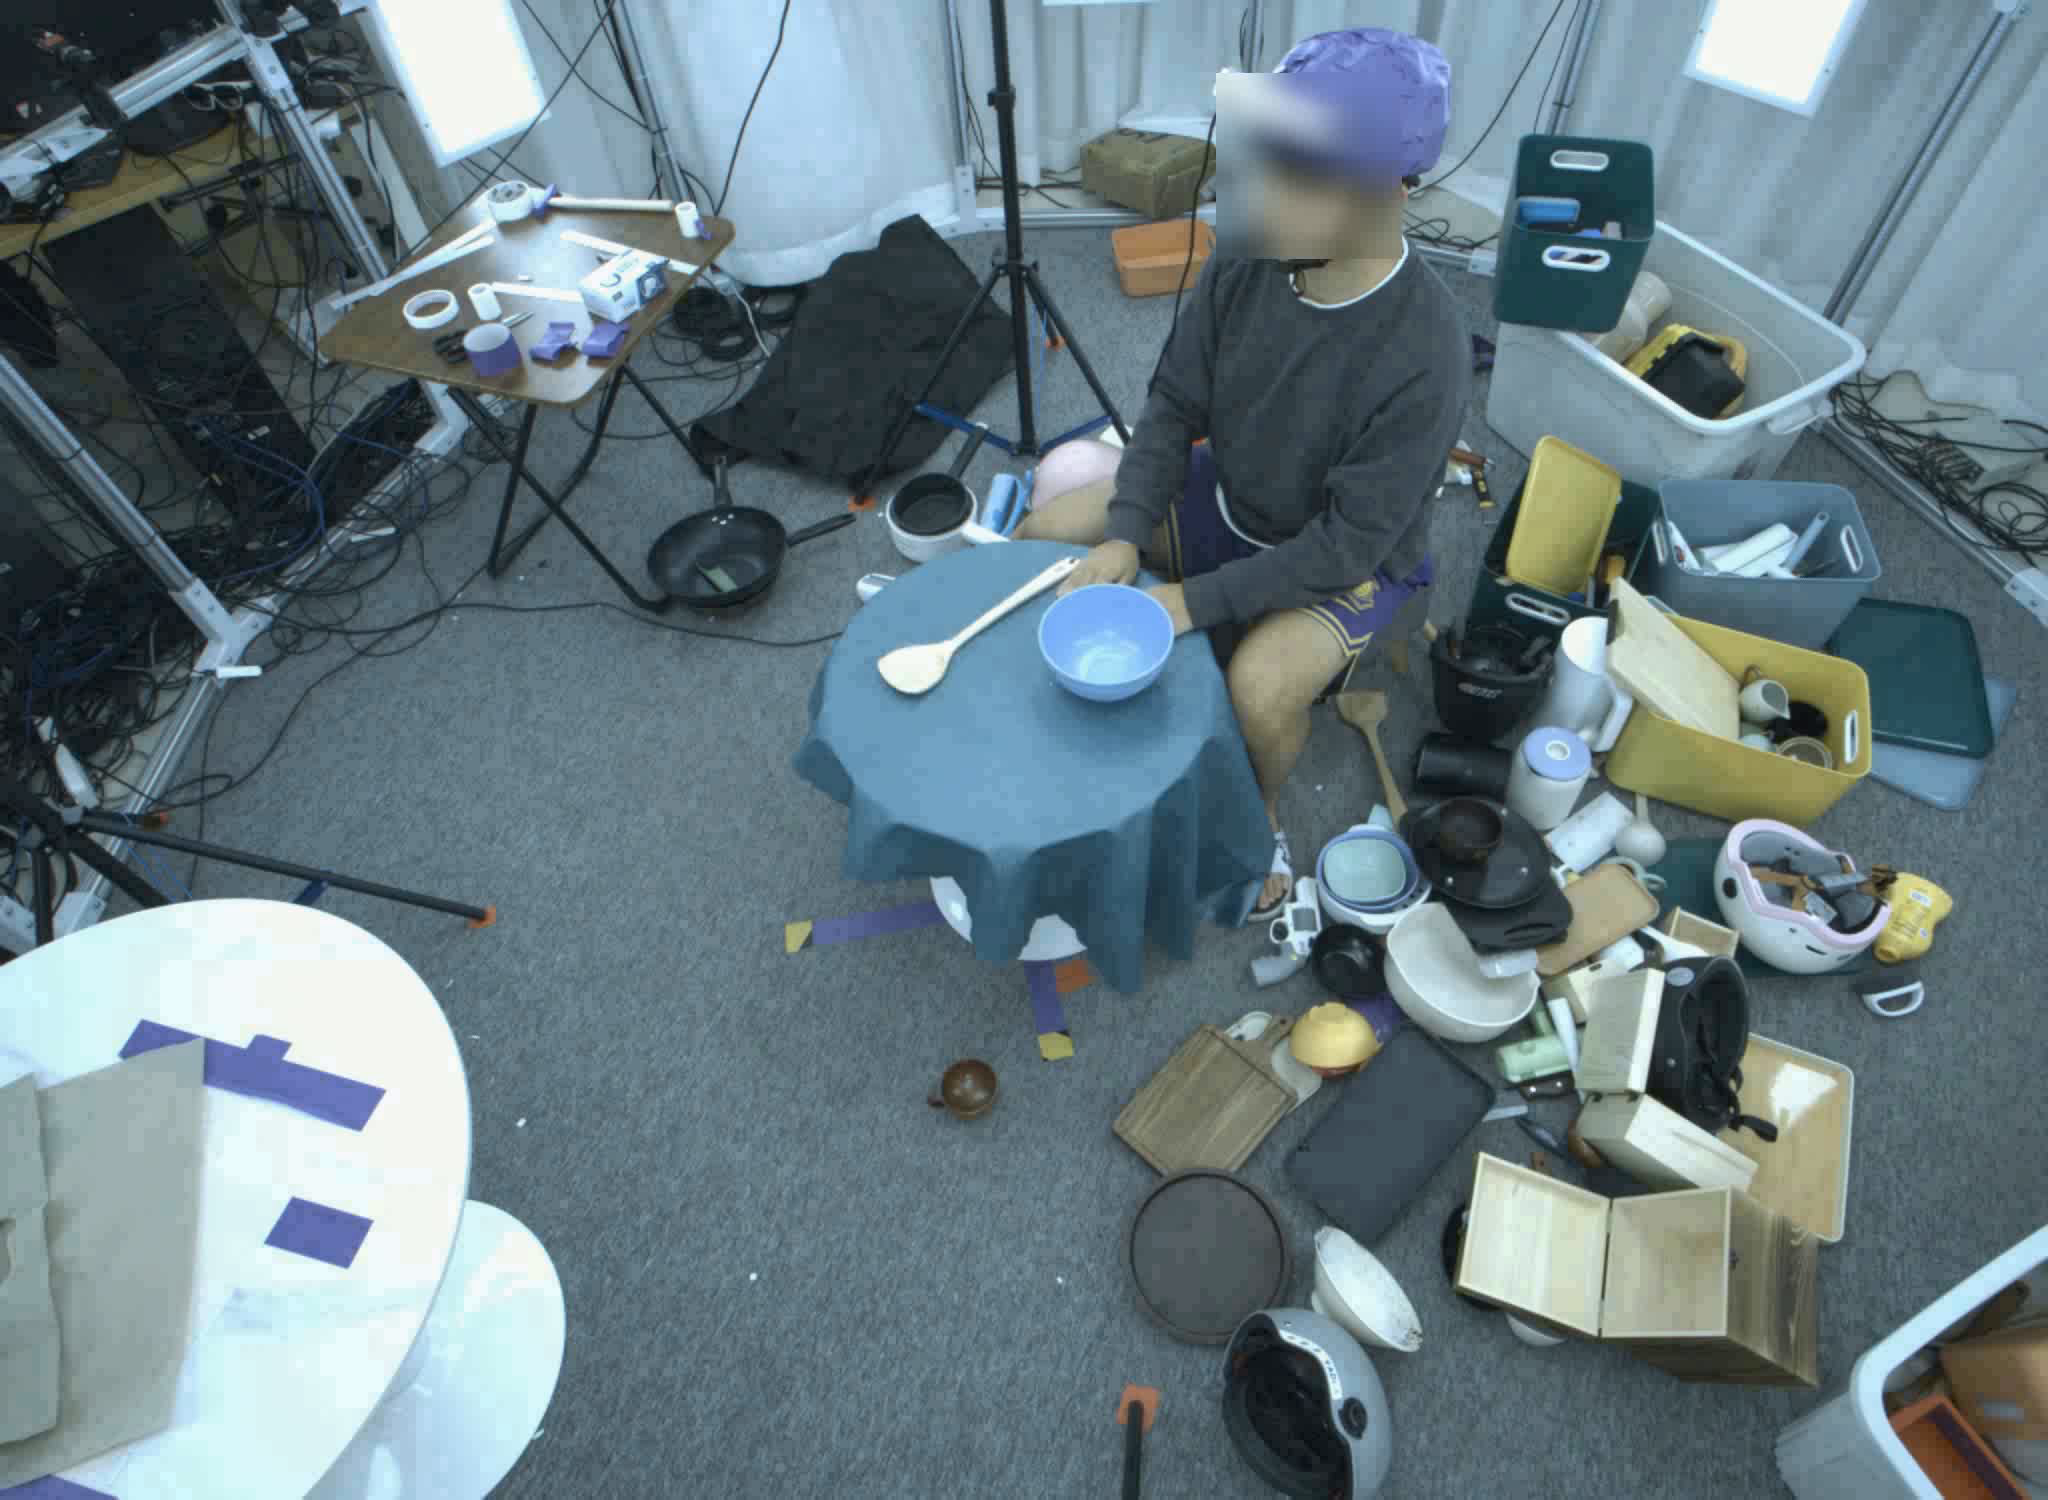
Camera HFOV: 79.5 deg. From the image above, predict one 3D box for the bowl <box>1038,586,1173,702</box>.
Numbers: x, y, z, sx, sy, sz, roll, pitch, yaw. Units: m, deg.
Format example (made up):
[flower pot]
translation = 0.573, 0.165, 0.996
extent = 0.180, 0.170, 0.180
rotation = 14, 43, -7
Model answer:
[bowl]
translation = 0.123, -0.143, 1.832
extent = 0.196, 0.096, 0.194
rotation = -2, 53, 4

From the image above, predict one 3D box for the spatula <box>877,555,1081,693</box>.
[spatula]
translation = -0.060, -0.210, 1.930
extent = 0.393, 0.018, 0.094
rotation = -37, 63, -22
